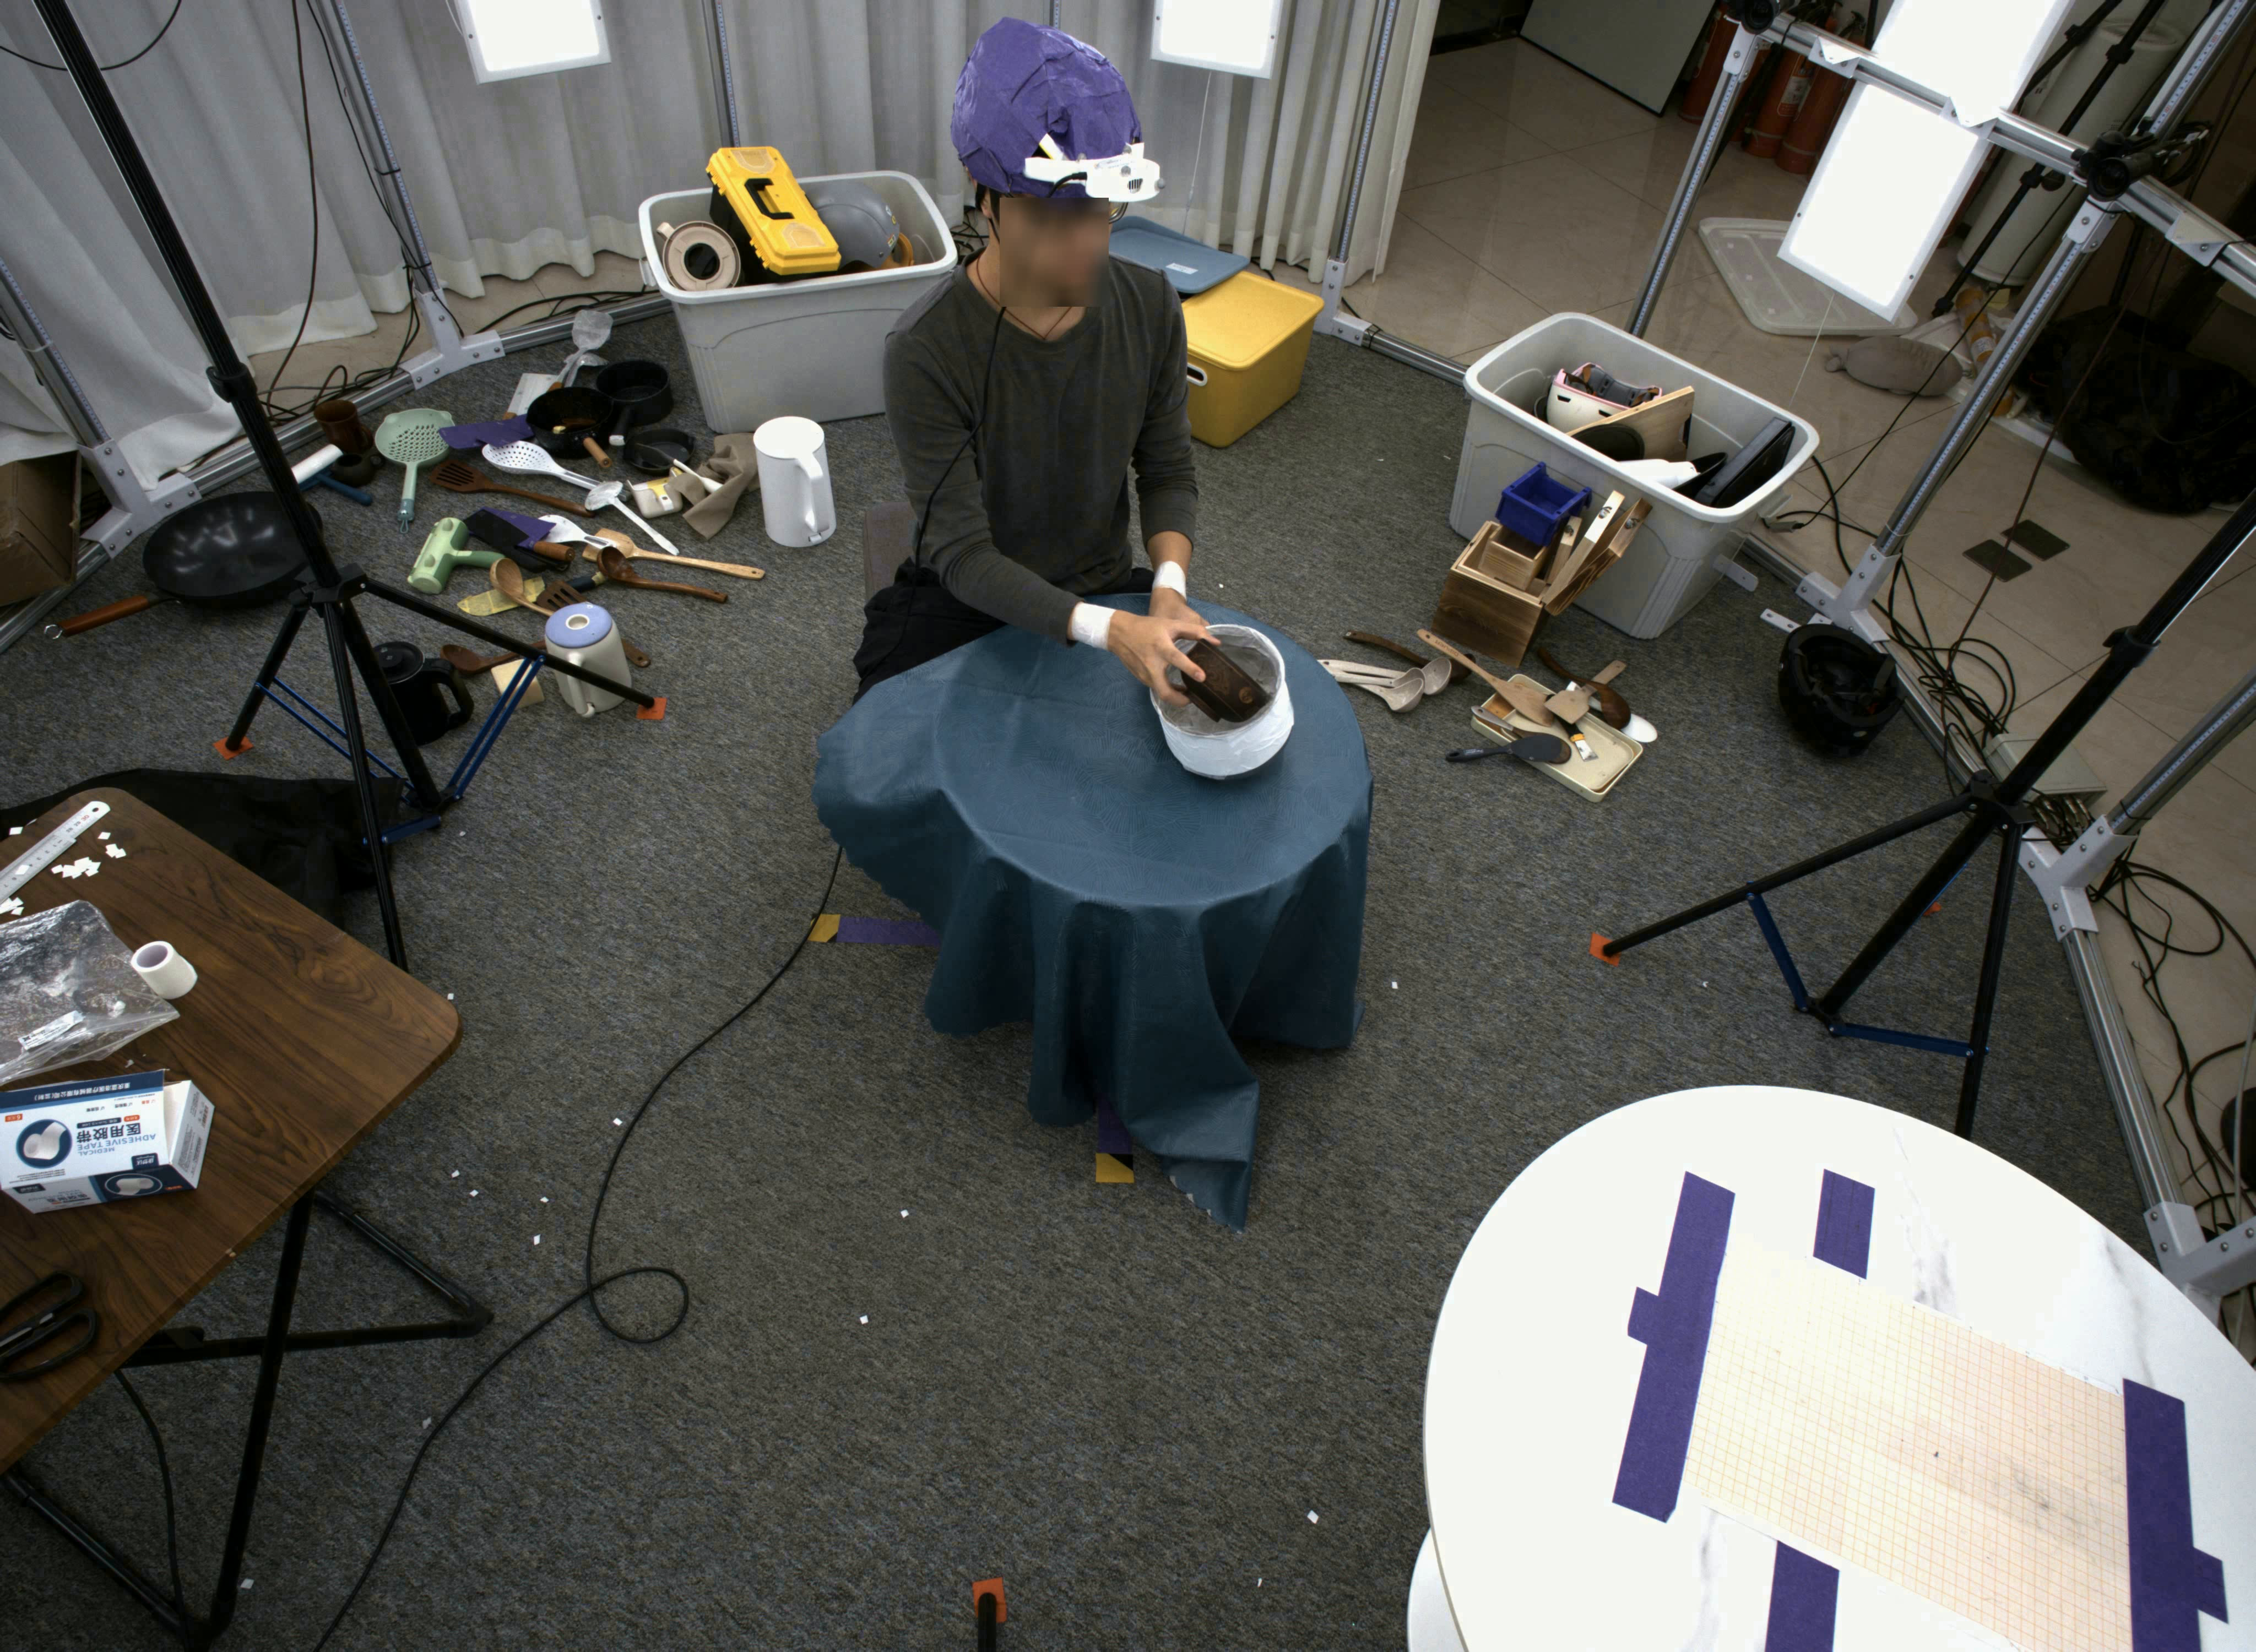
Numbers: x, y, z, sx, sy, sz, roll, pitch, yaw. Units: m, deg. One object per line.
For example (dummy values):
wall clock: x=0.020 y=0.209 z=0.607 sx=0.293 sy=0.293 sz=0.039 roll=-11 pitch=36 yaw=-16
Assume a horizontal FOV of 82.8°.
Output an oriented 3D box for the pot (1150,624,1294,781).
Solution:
pot: x=0.115 y=-0.179 z=1.720 sx=0.179 sy=0.133 sz=0.239 roll=-31 pitch=57 yaw=-4

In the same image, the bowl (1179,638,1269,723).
bowl: x=0.112 y=-0.174 z=1.614 sx=0.120 sy=0.116 sz=0.070 roll=41 pitch=94 yaw=26
